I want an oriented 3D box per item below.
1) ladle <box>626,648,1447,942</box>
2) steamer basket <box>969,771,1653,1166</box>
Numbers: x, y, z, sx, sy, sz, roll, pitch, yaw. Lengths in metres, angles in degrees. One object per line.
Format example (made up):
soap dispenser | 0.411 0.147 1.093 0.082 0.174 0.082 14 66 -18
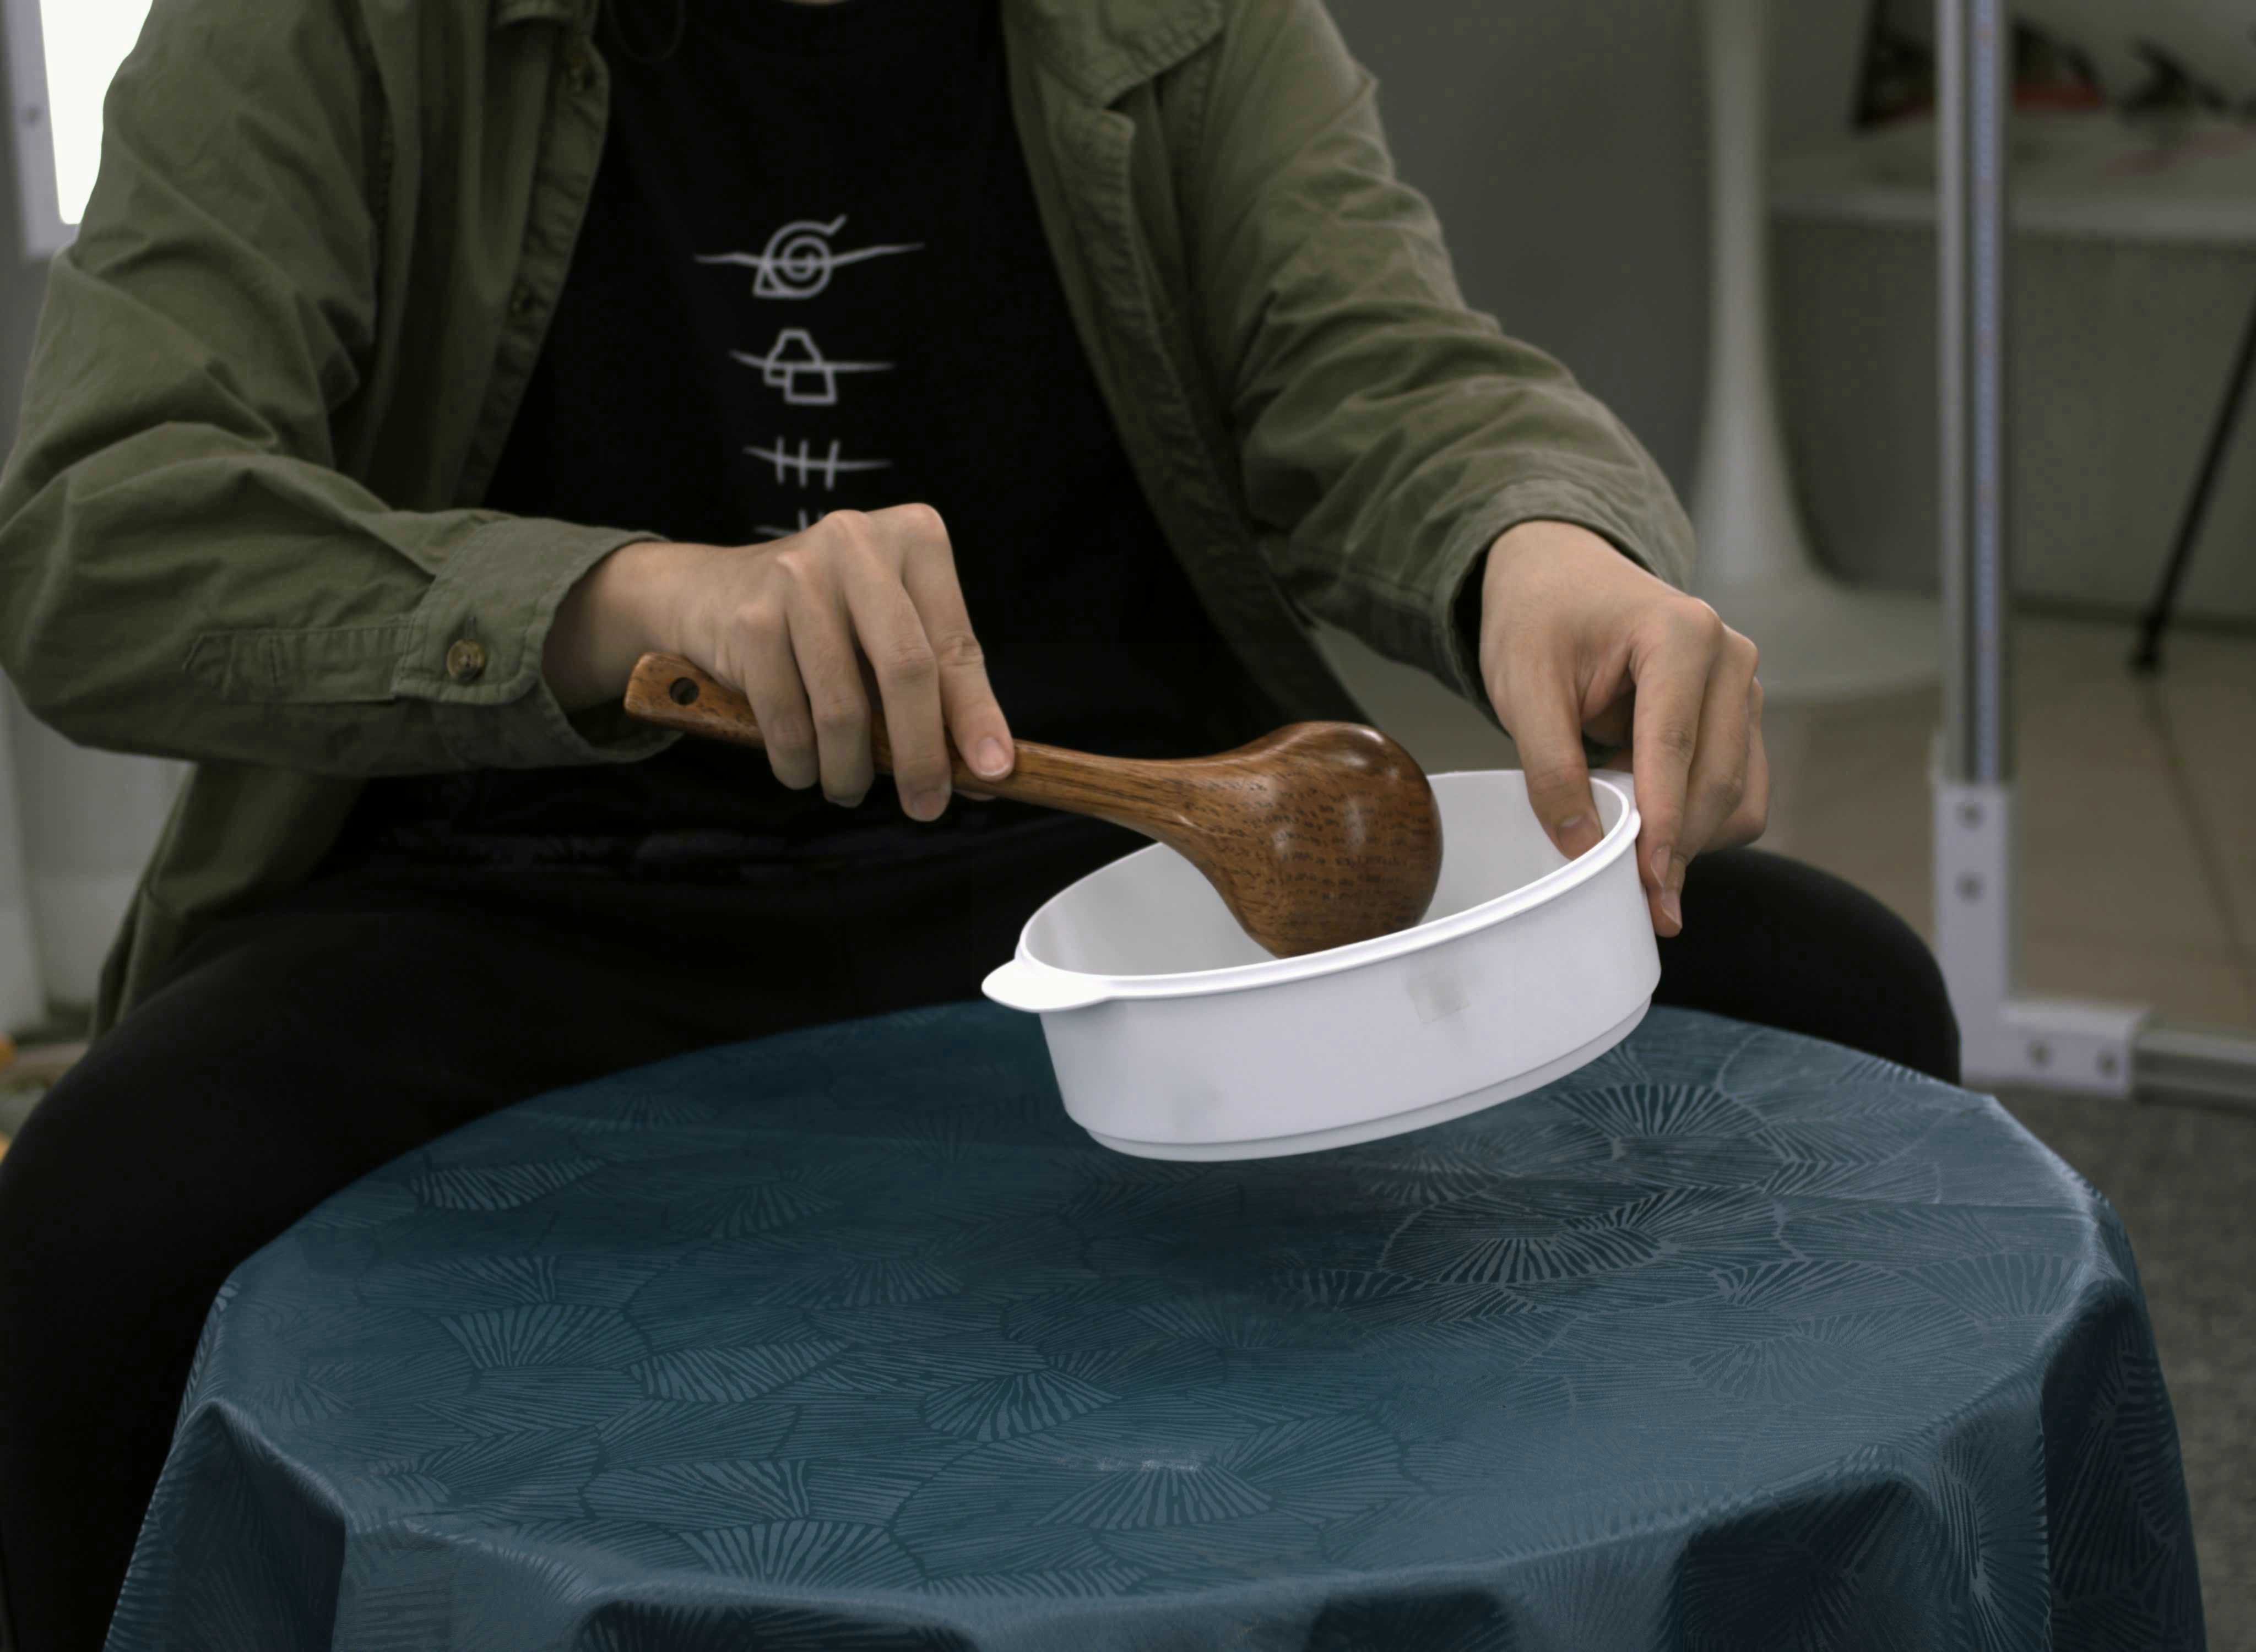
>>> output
ladle | -0.028 -0.018 1.745 0.274 0.083 0.076 11 -12 25
steamer basket | 0.064 0.045 1.681 0.226 0.070 0.204 -19 14 -20
